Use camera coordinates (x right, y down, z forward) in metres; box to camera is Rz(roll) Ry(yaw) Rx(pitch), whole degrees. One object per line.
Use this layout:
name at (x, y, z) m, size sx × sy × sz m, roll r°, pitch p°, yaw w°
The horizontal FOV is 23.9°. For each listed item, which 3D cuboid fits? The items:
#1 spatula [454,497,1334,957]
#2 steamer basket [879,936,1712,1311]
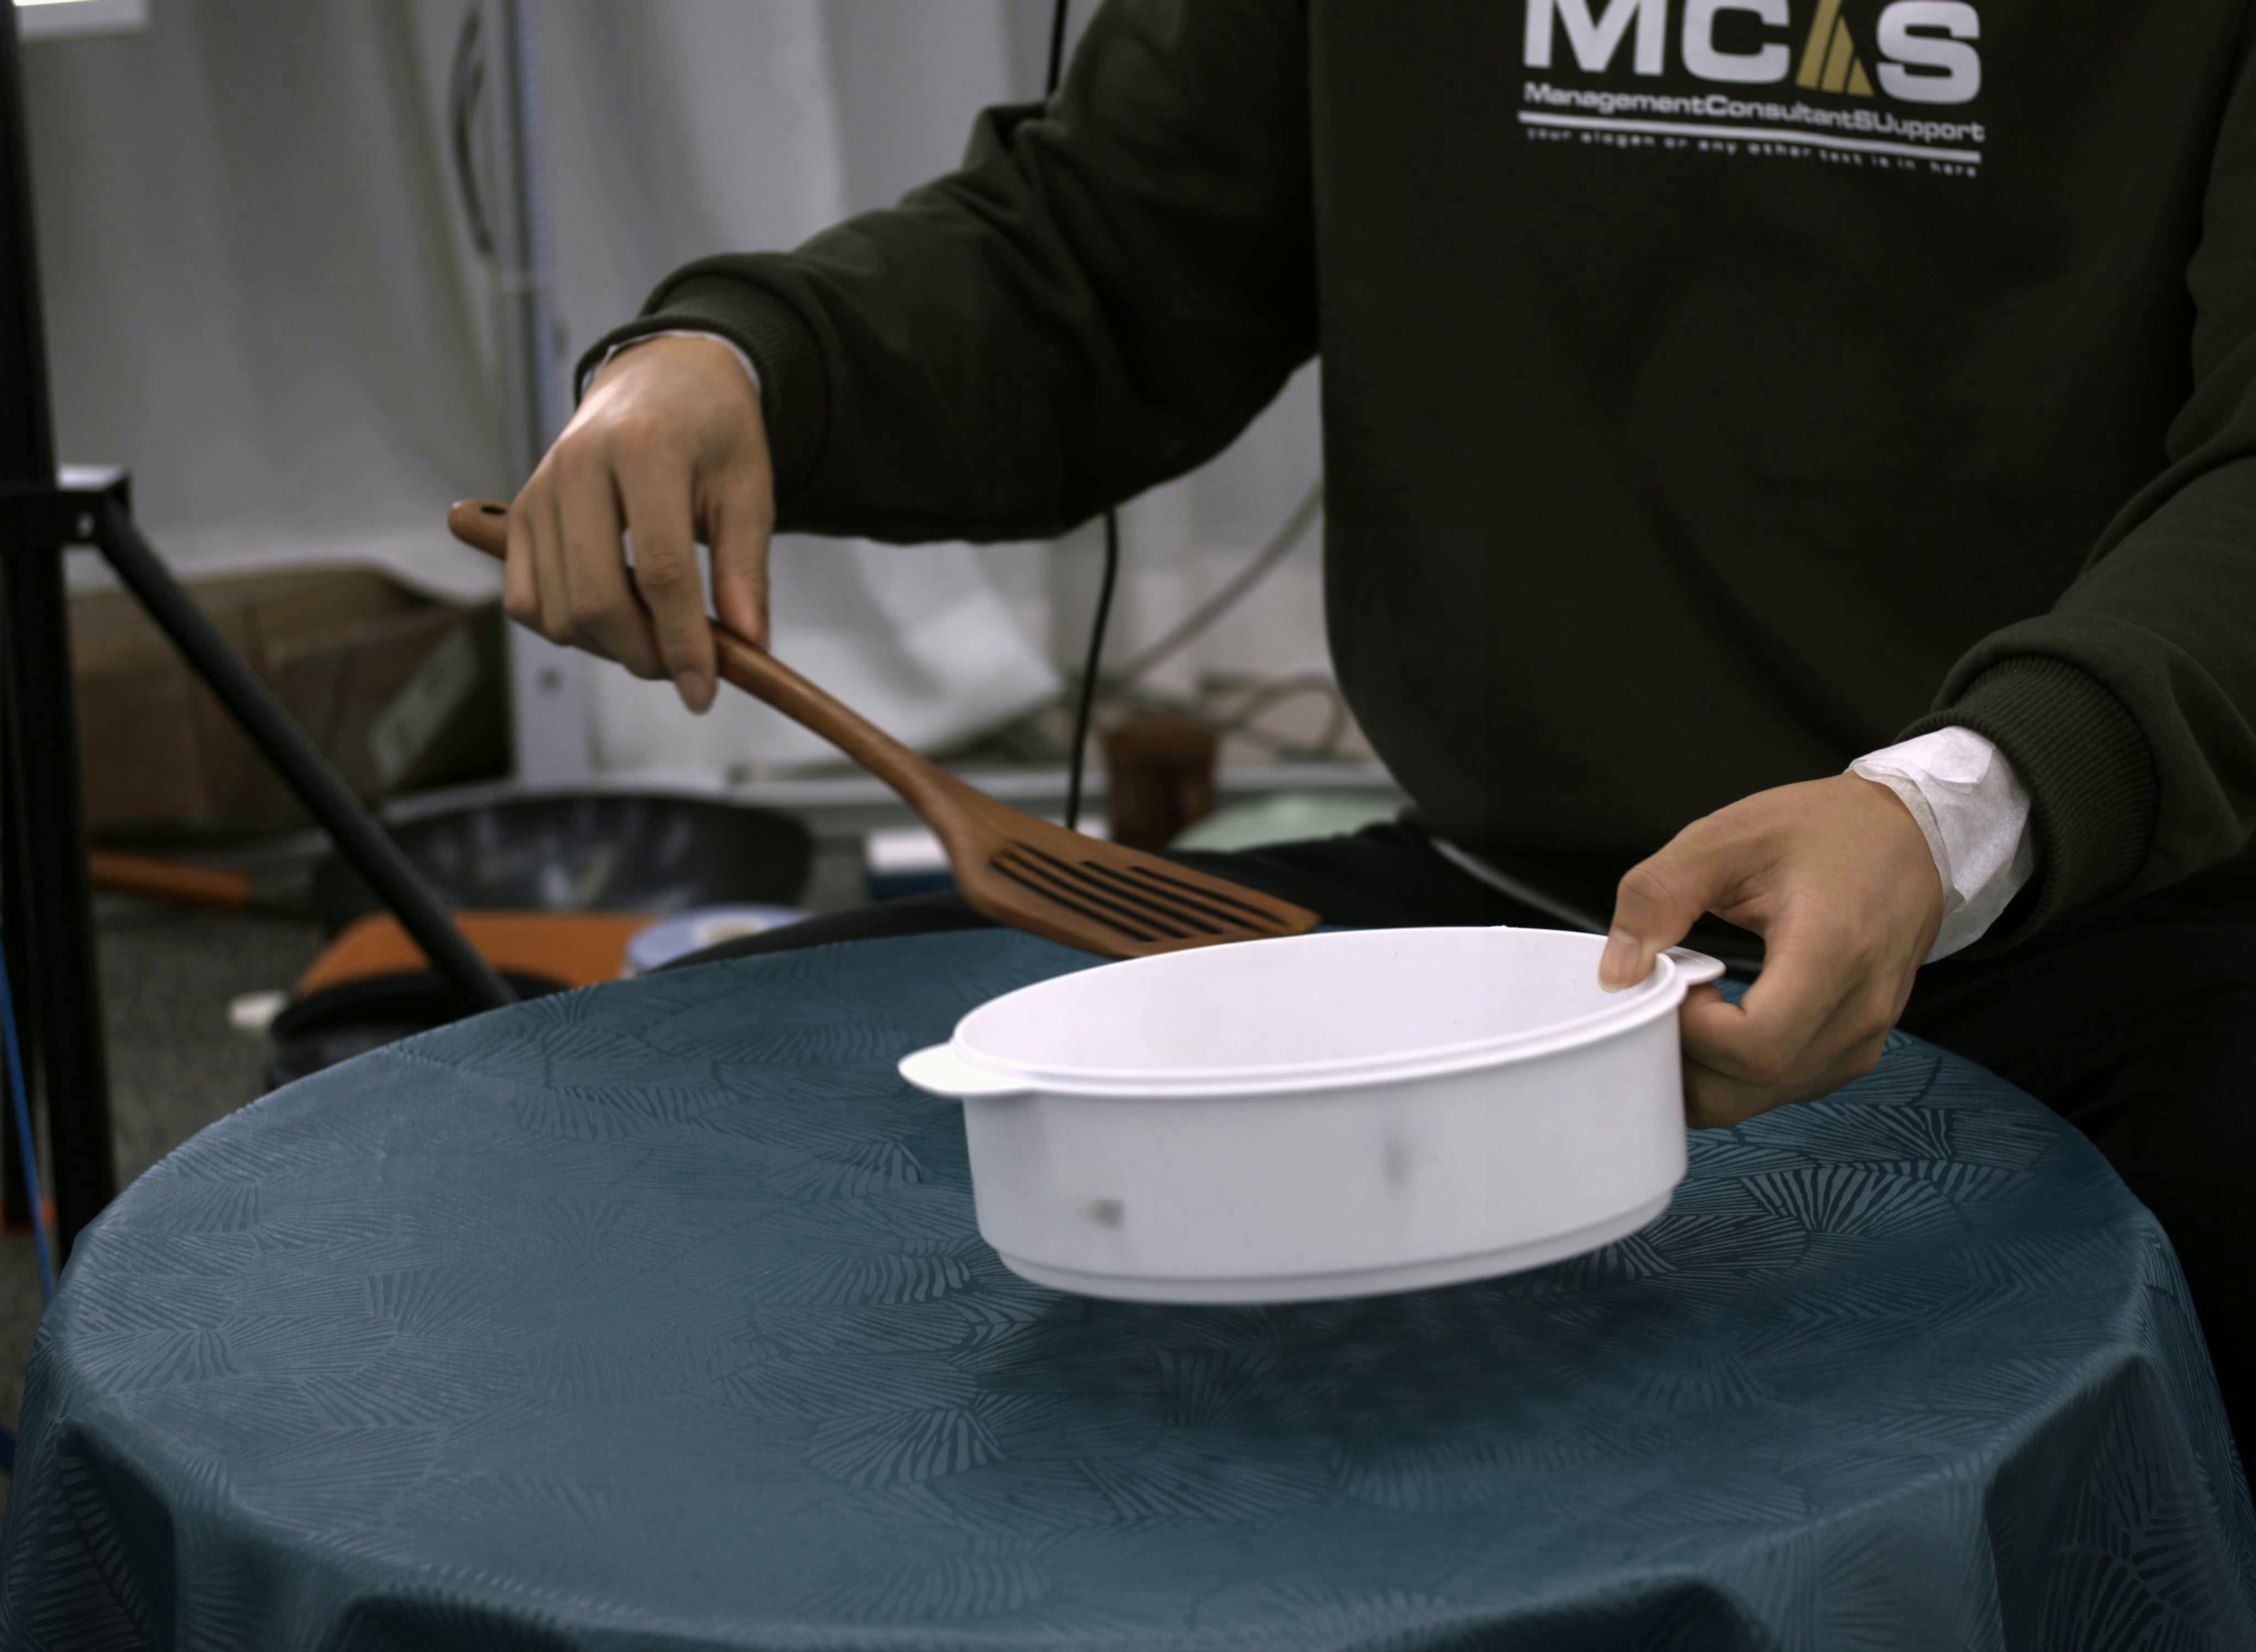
spatula at (-0.093, -0.031, 1.710) m, size 0.084 × 0.024 × 0.394 m, roll -10°, pitch 31°, yaw -44°
steamer basket at (0.047, 0.081, 1.438) m, size 0.227 × 0.069 × 0.205 m, roll -5°, pitch 9°, yaw -16°
